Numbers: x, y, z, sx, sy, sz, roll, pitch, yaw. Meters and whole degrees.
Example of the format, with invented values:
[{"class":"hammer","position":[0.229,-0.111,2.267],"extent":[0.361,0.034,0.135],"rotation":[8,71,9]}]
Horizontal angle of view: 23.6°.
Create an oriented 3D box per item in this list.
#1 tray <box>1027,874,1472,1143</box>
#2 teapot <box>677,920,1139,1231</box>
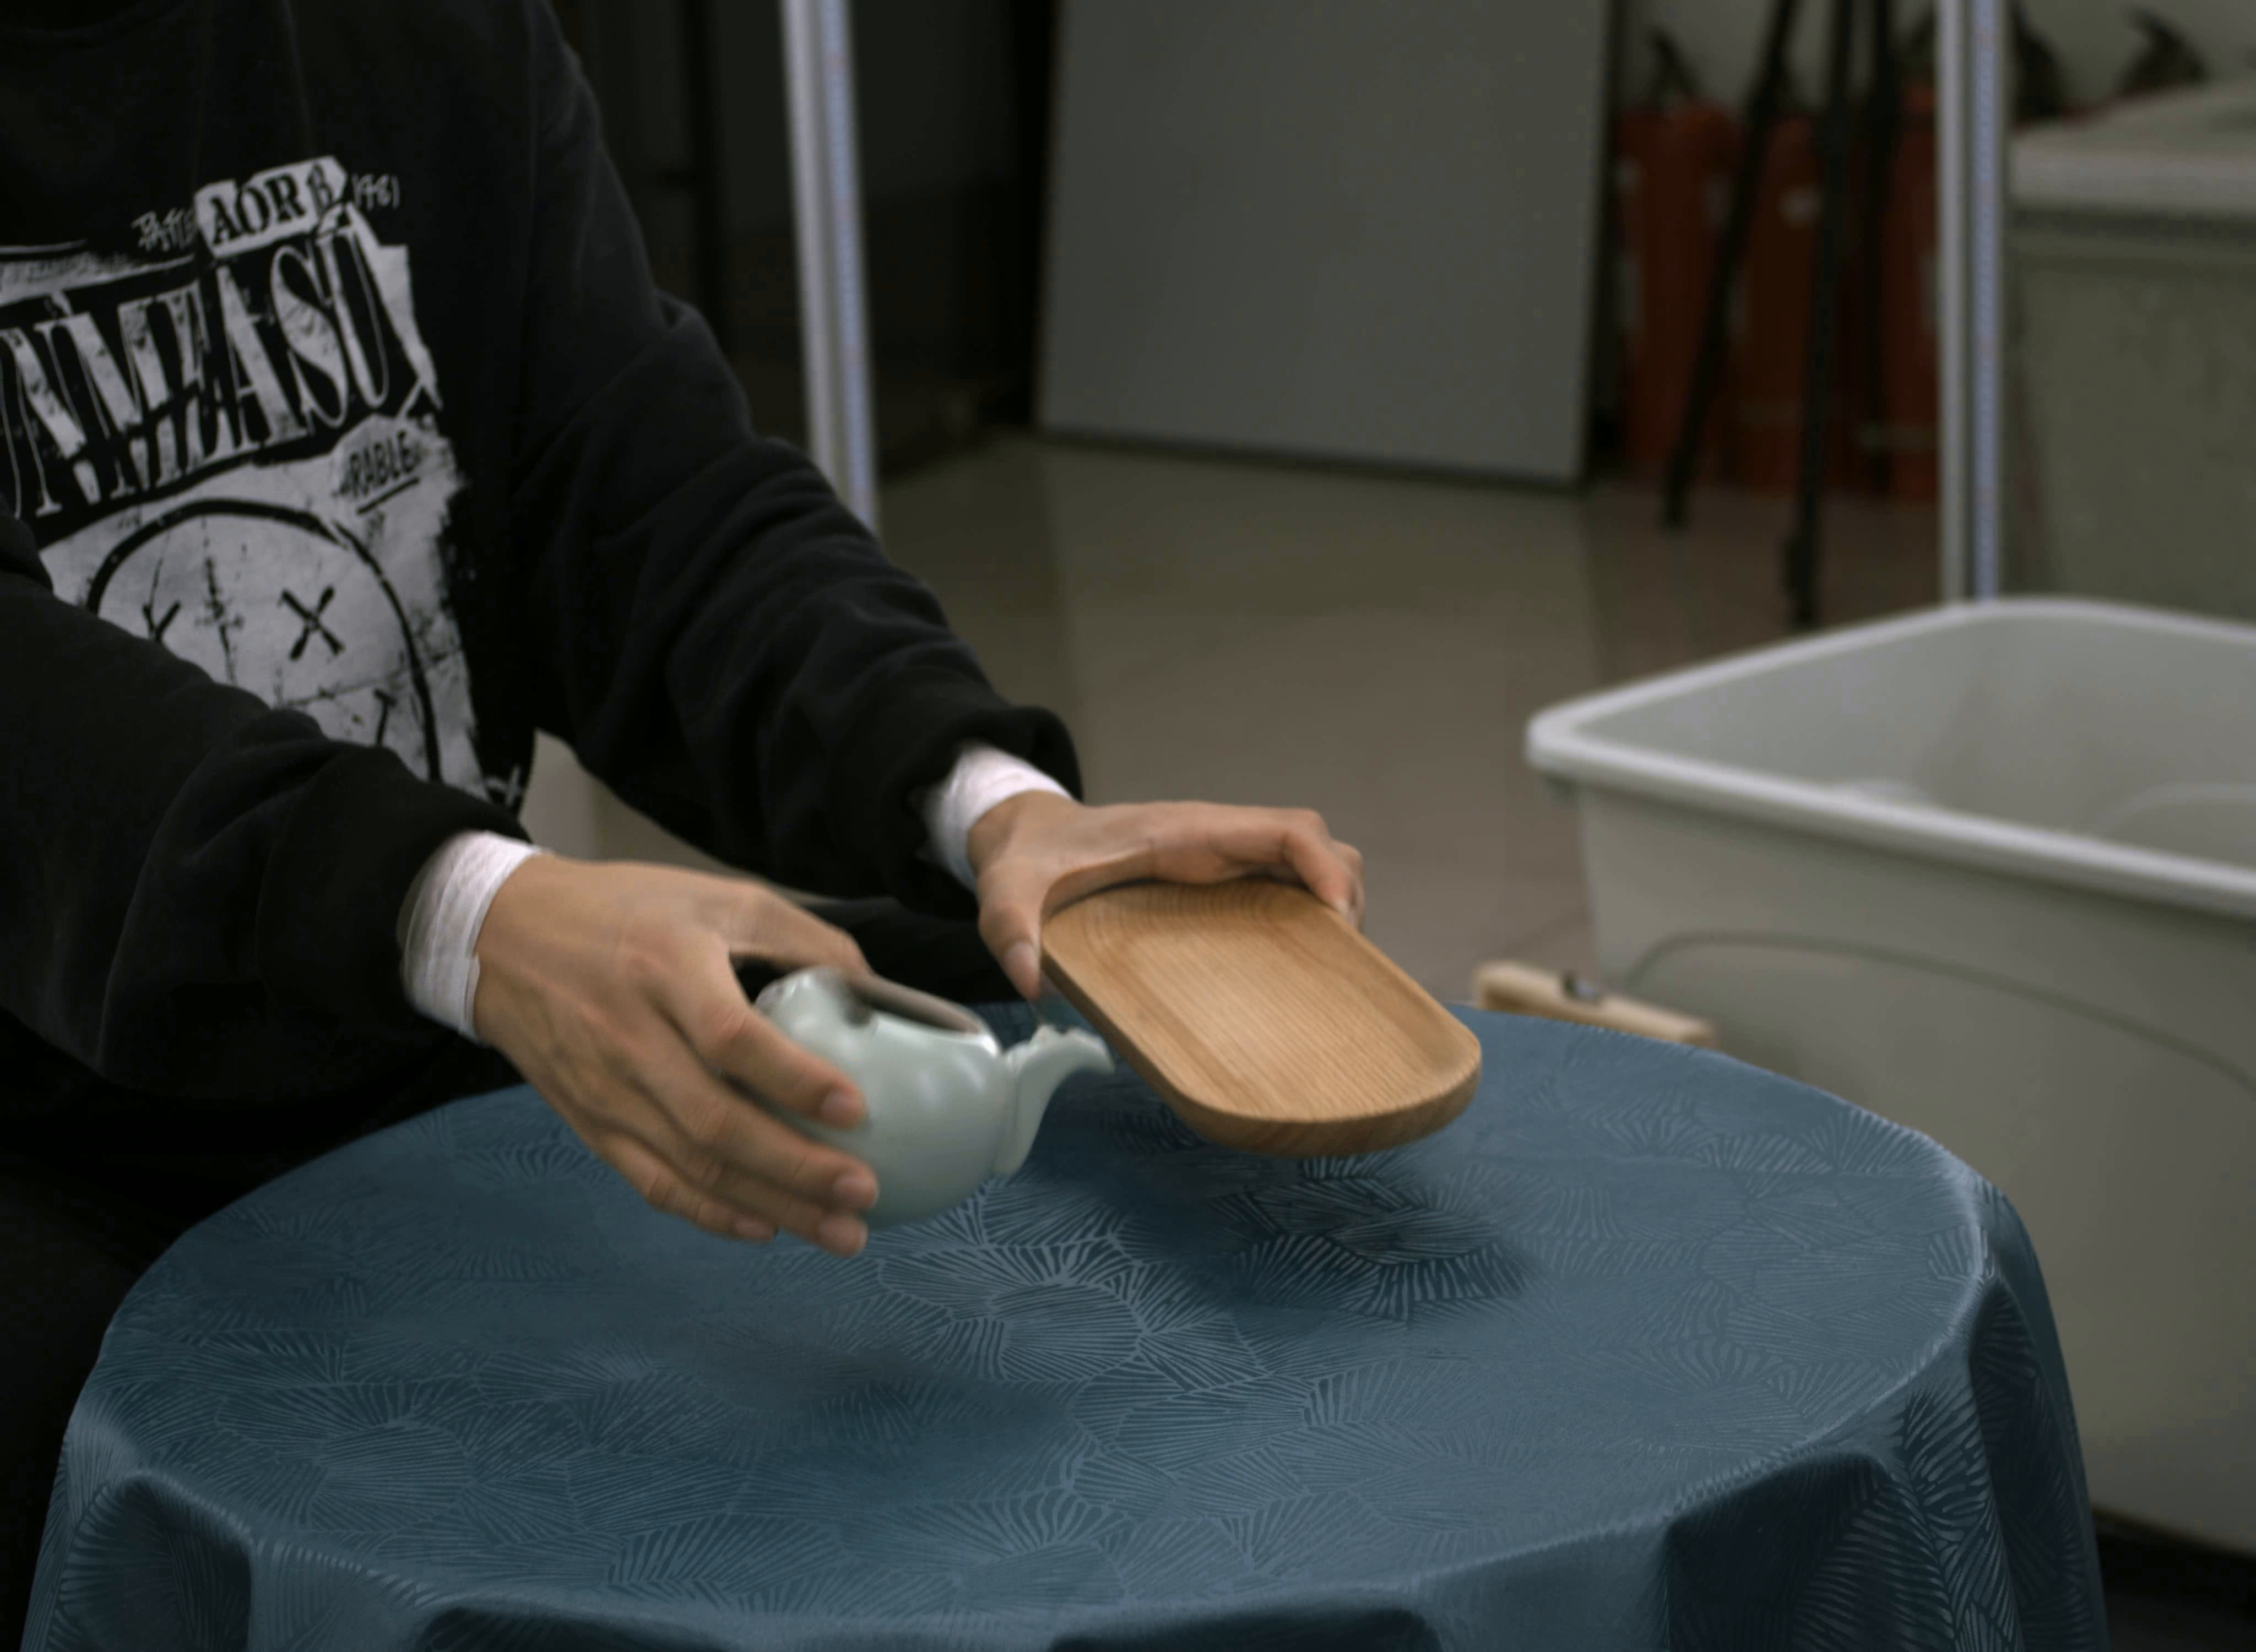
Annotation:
[{"class":"tray","position":[0.038,0.057,1.755],"extent":[0.099,0.020,0.233],"rotation":[-9,18,-17]},{"class":"teapot","position":[-0.070,0.079,1.613],"extent":[0.141,0.075,0.089],"rotation":[17,8,-16]}]
